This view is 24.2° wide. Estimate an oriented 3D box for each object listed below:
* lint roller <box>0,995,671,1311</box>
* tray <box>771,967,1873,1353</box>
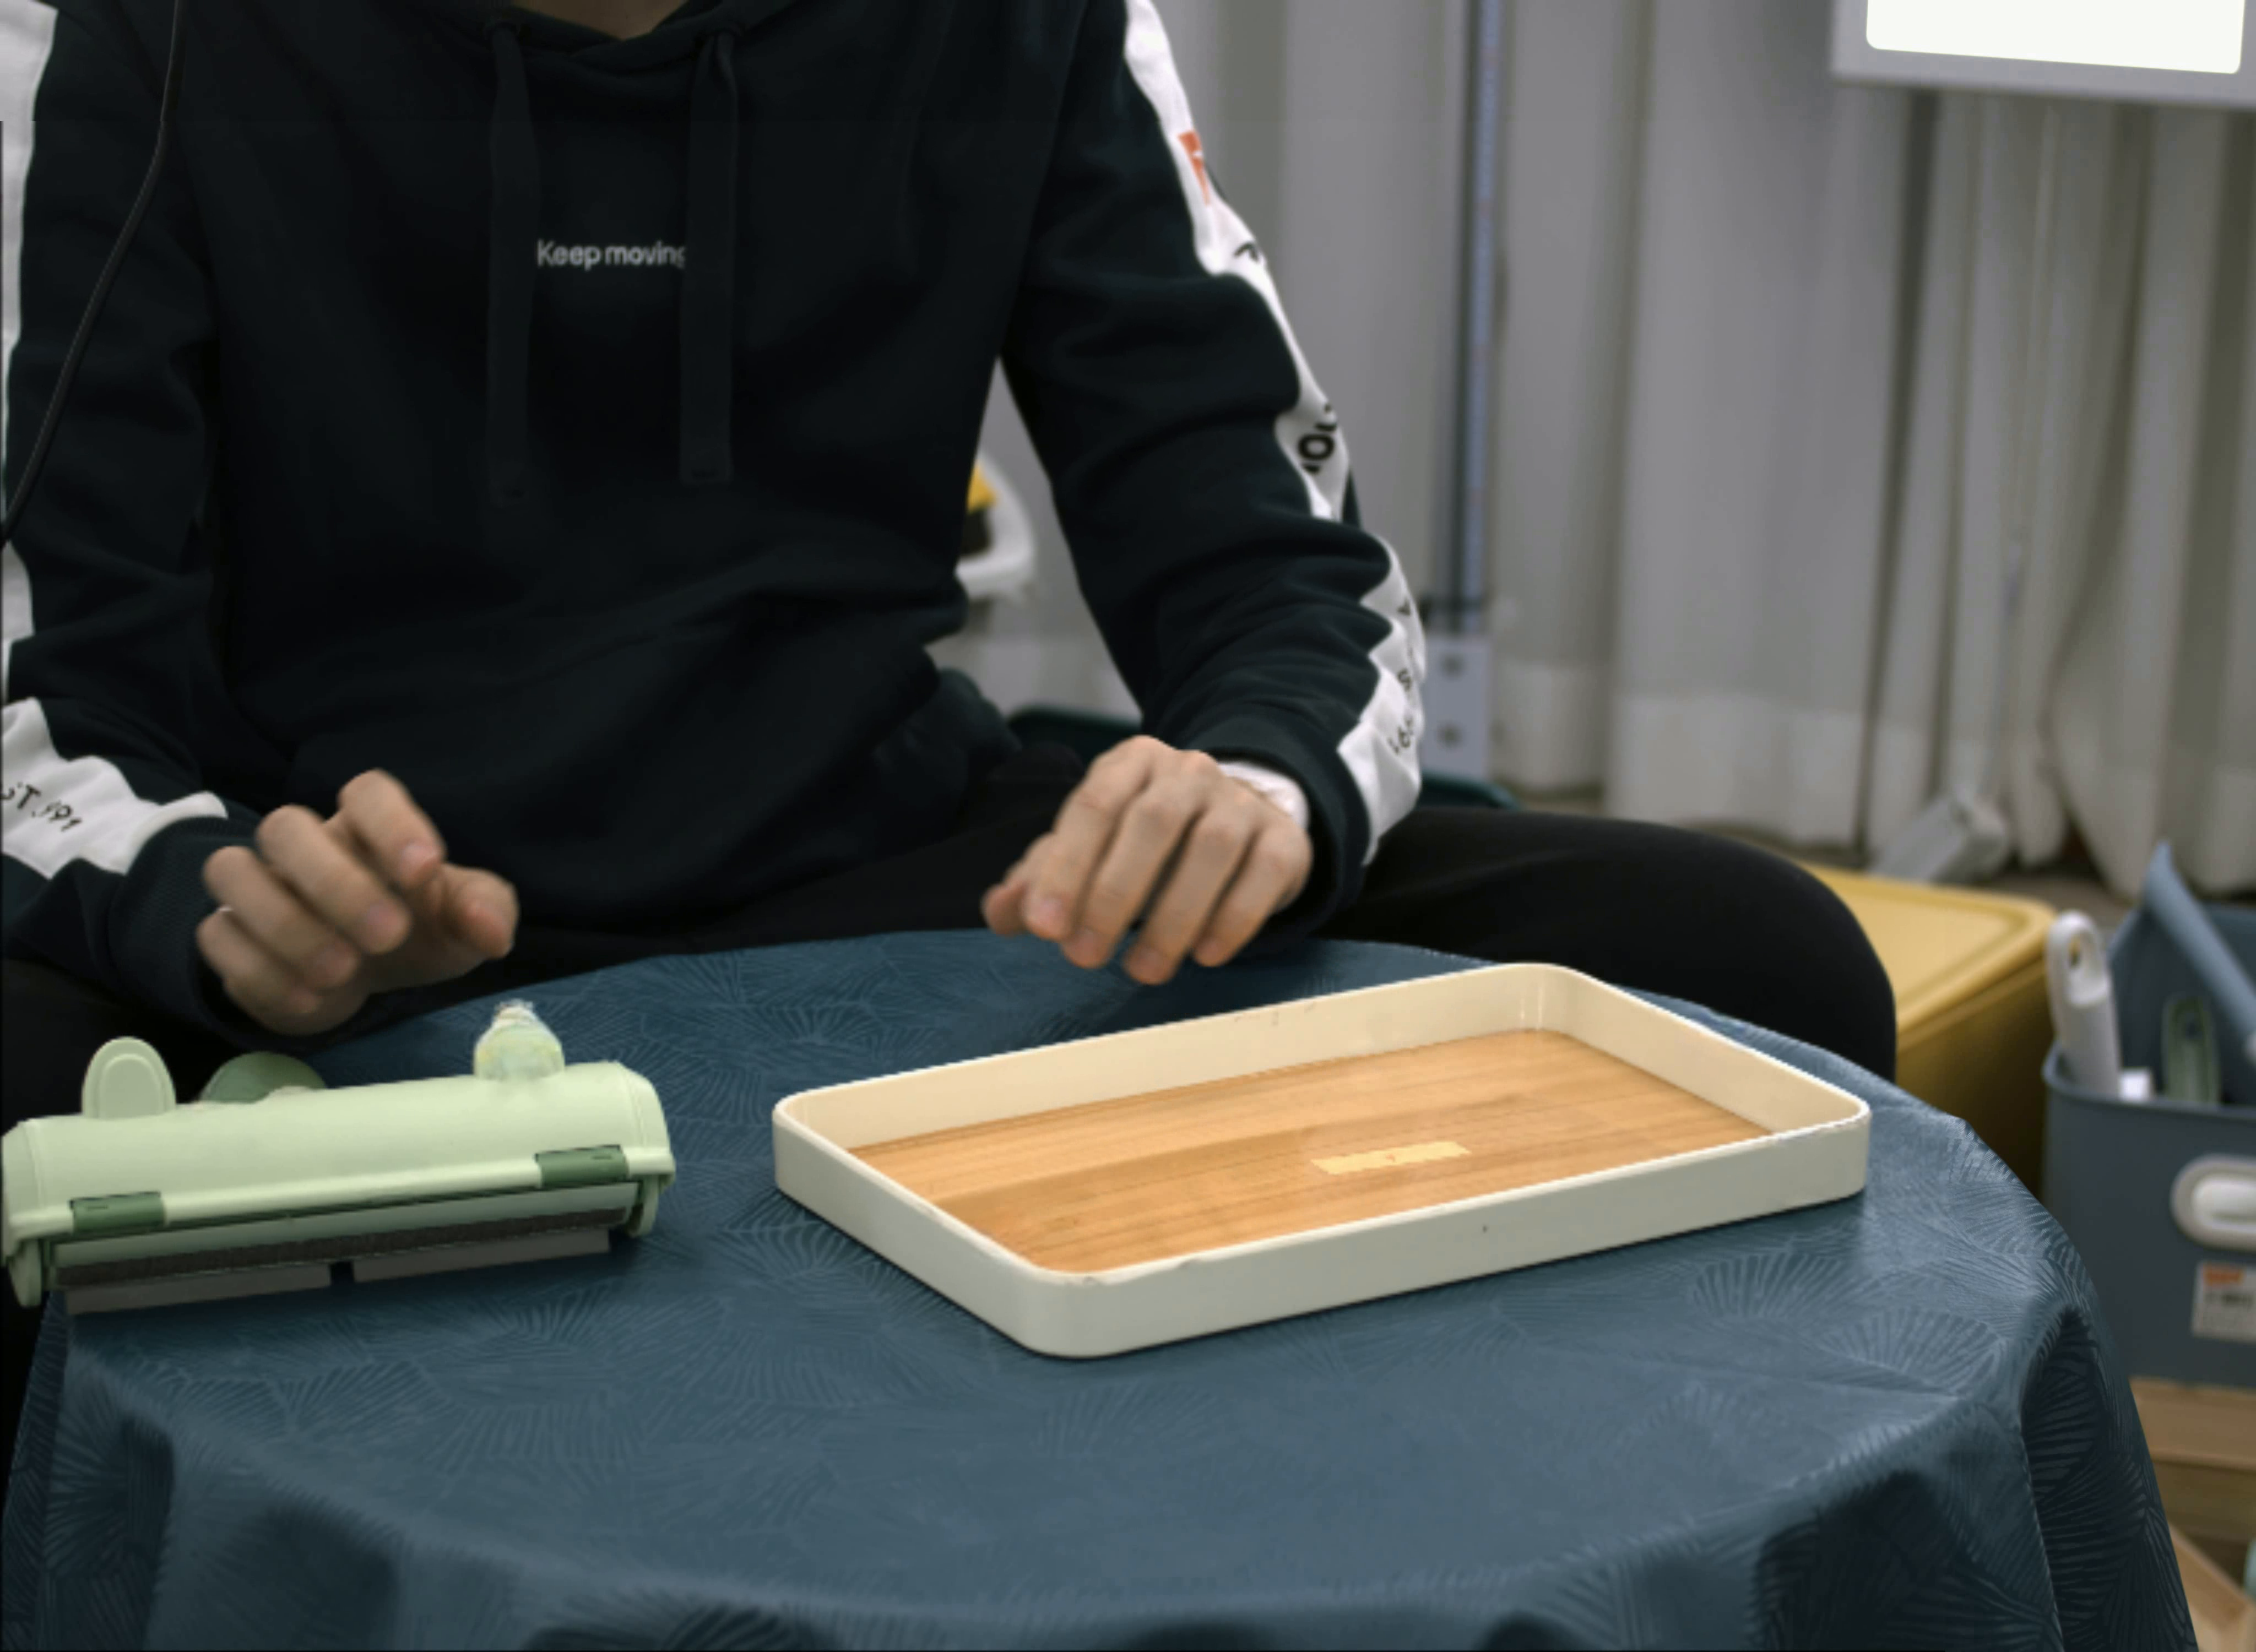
[{"bbox_3d":[-0.252,0.079,1.584,0.199,0.083,0.181,-5,21,-19],"label":"lint roller"},{"bbox_3d":[0.060,0.099,1.621,0.301,0.027,0.189,-9,17,-30],"label":"tray"}]
